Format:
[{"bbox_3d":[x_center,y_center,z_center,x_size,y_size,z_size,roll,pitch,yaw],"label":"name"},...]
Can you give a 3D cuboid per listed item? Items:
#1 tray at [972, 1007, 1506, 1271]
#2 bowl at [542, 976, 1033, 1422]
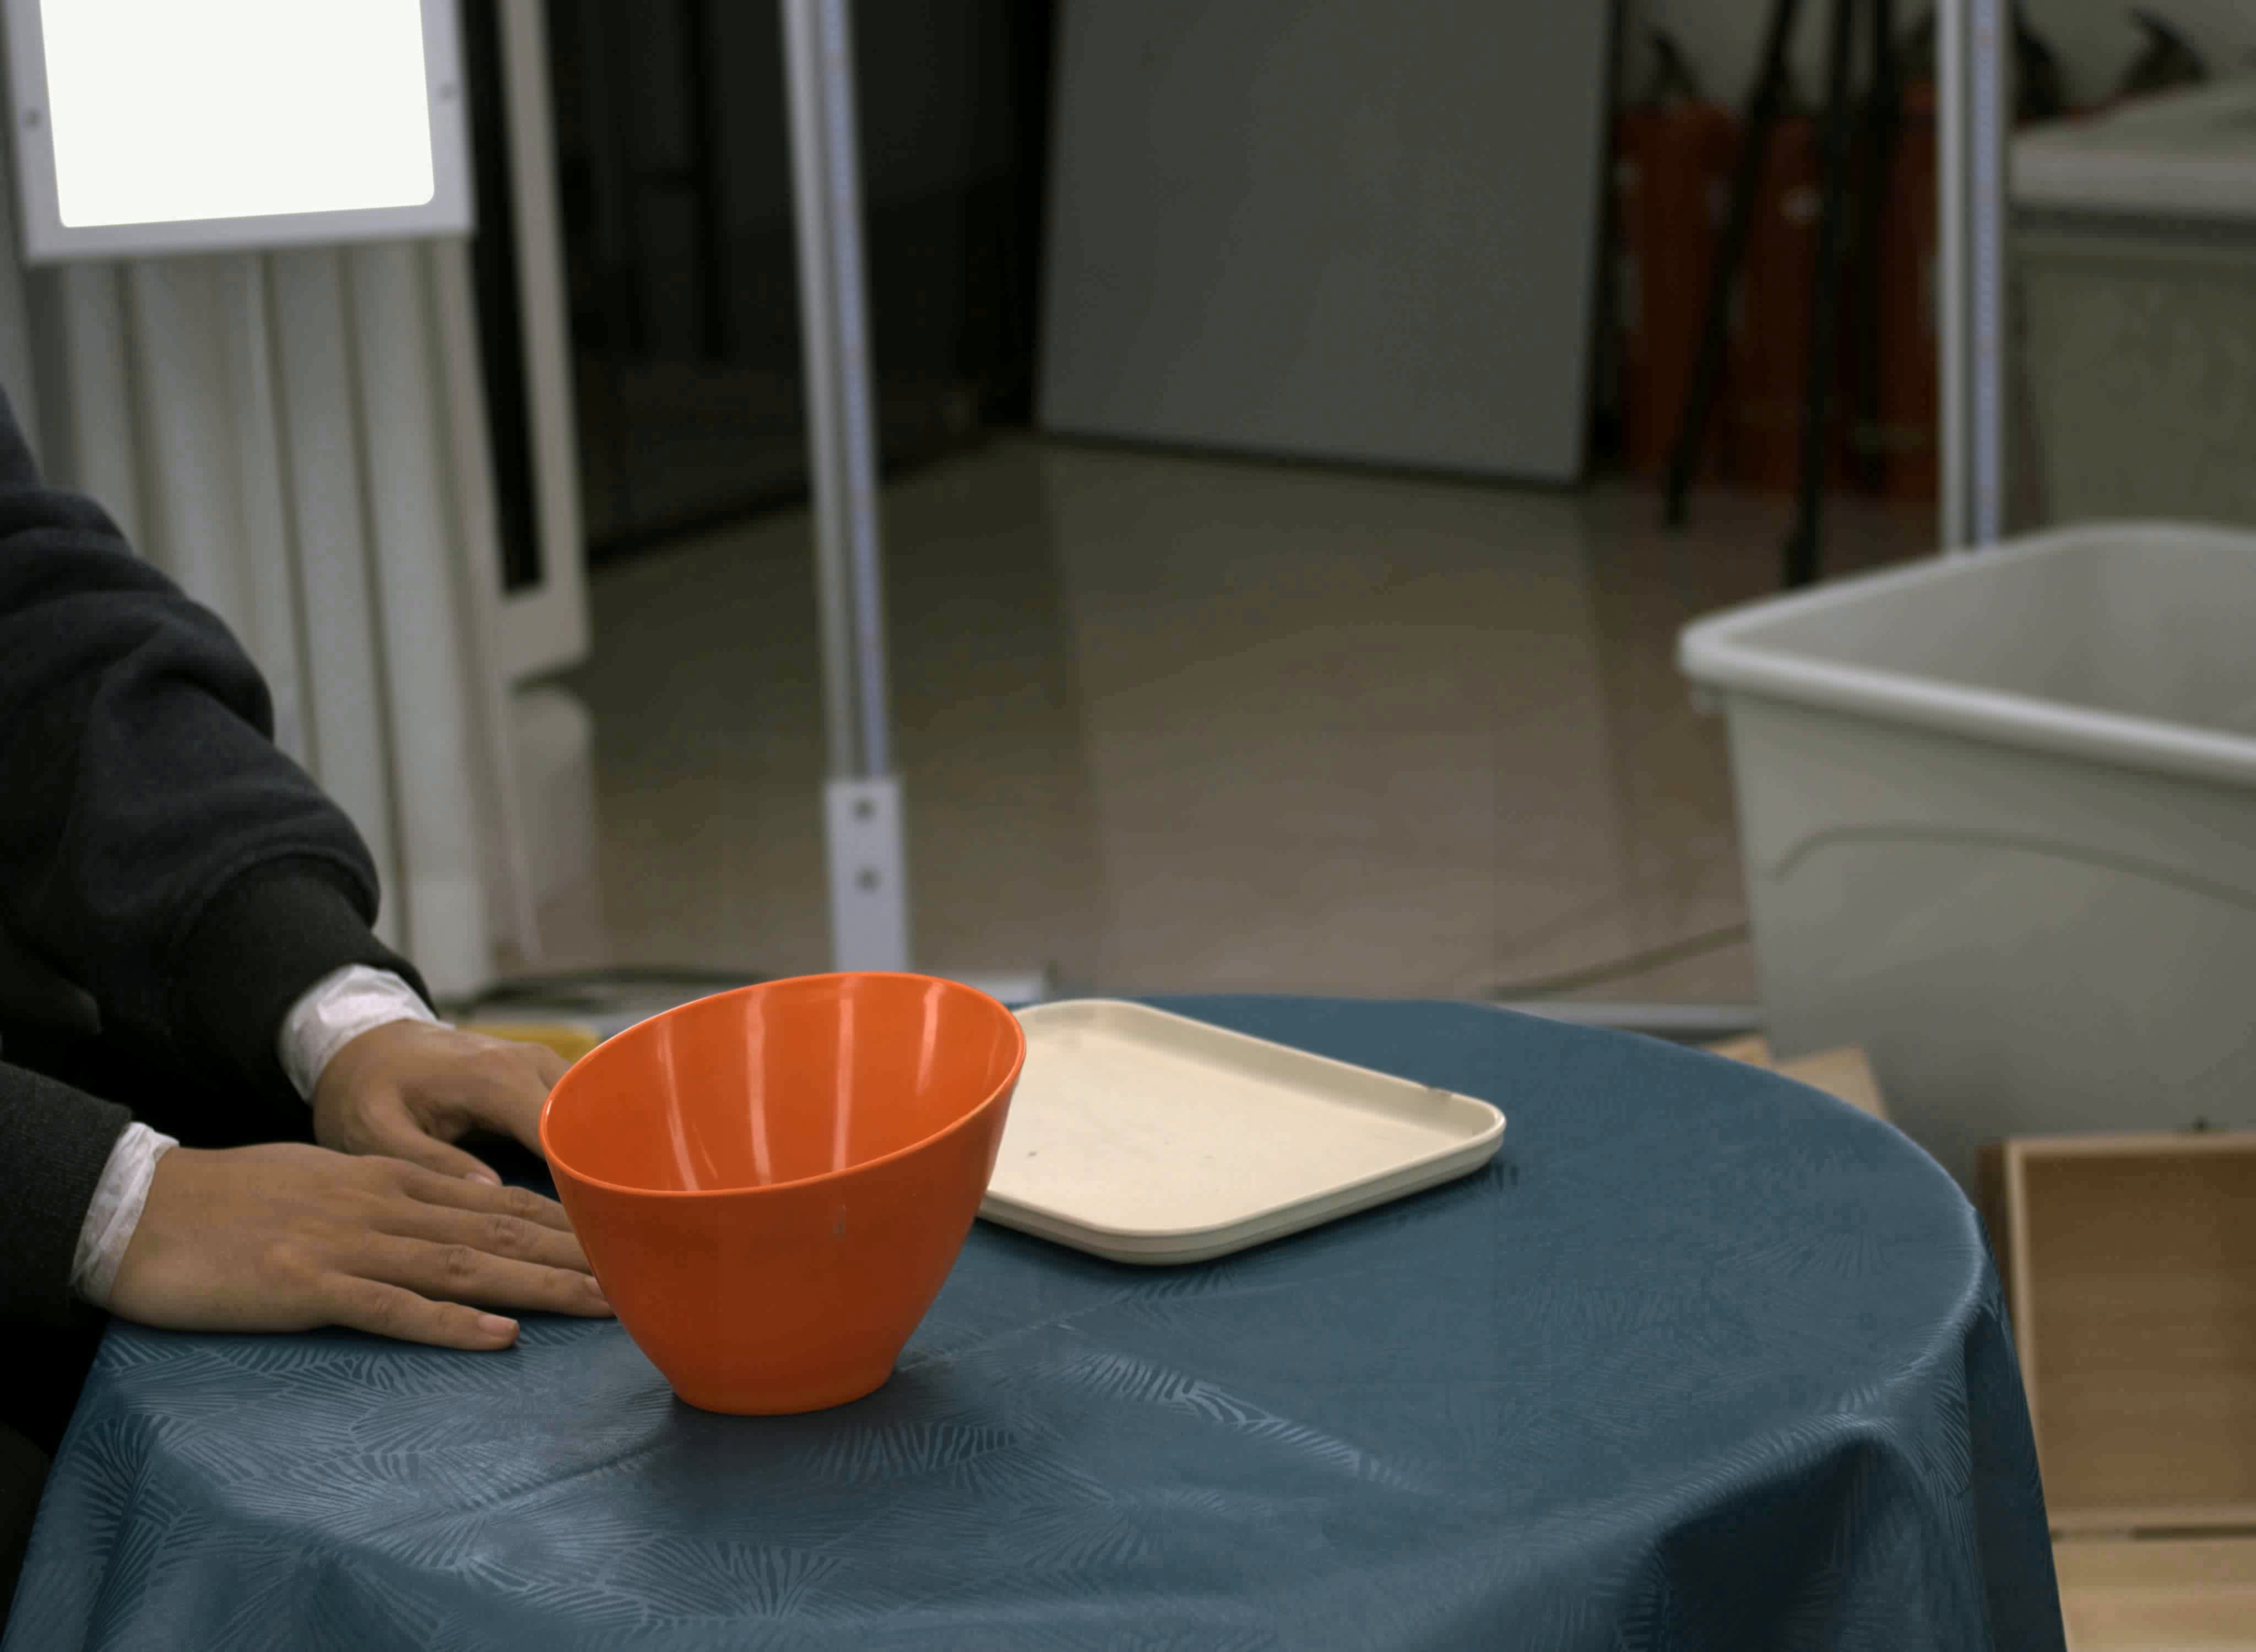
[{"bbox_3d":[-0.002,0.103,1.806,0.167,0.017,0.242,-15,18,-37],"label":"tray"},{"bbox_3d":[-0.099,0.114,1.610,0.146,0.106,0.148,-2,14,0],"label":"bowl"}]
